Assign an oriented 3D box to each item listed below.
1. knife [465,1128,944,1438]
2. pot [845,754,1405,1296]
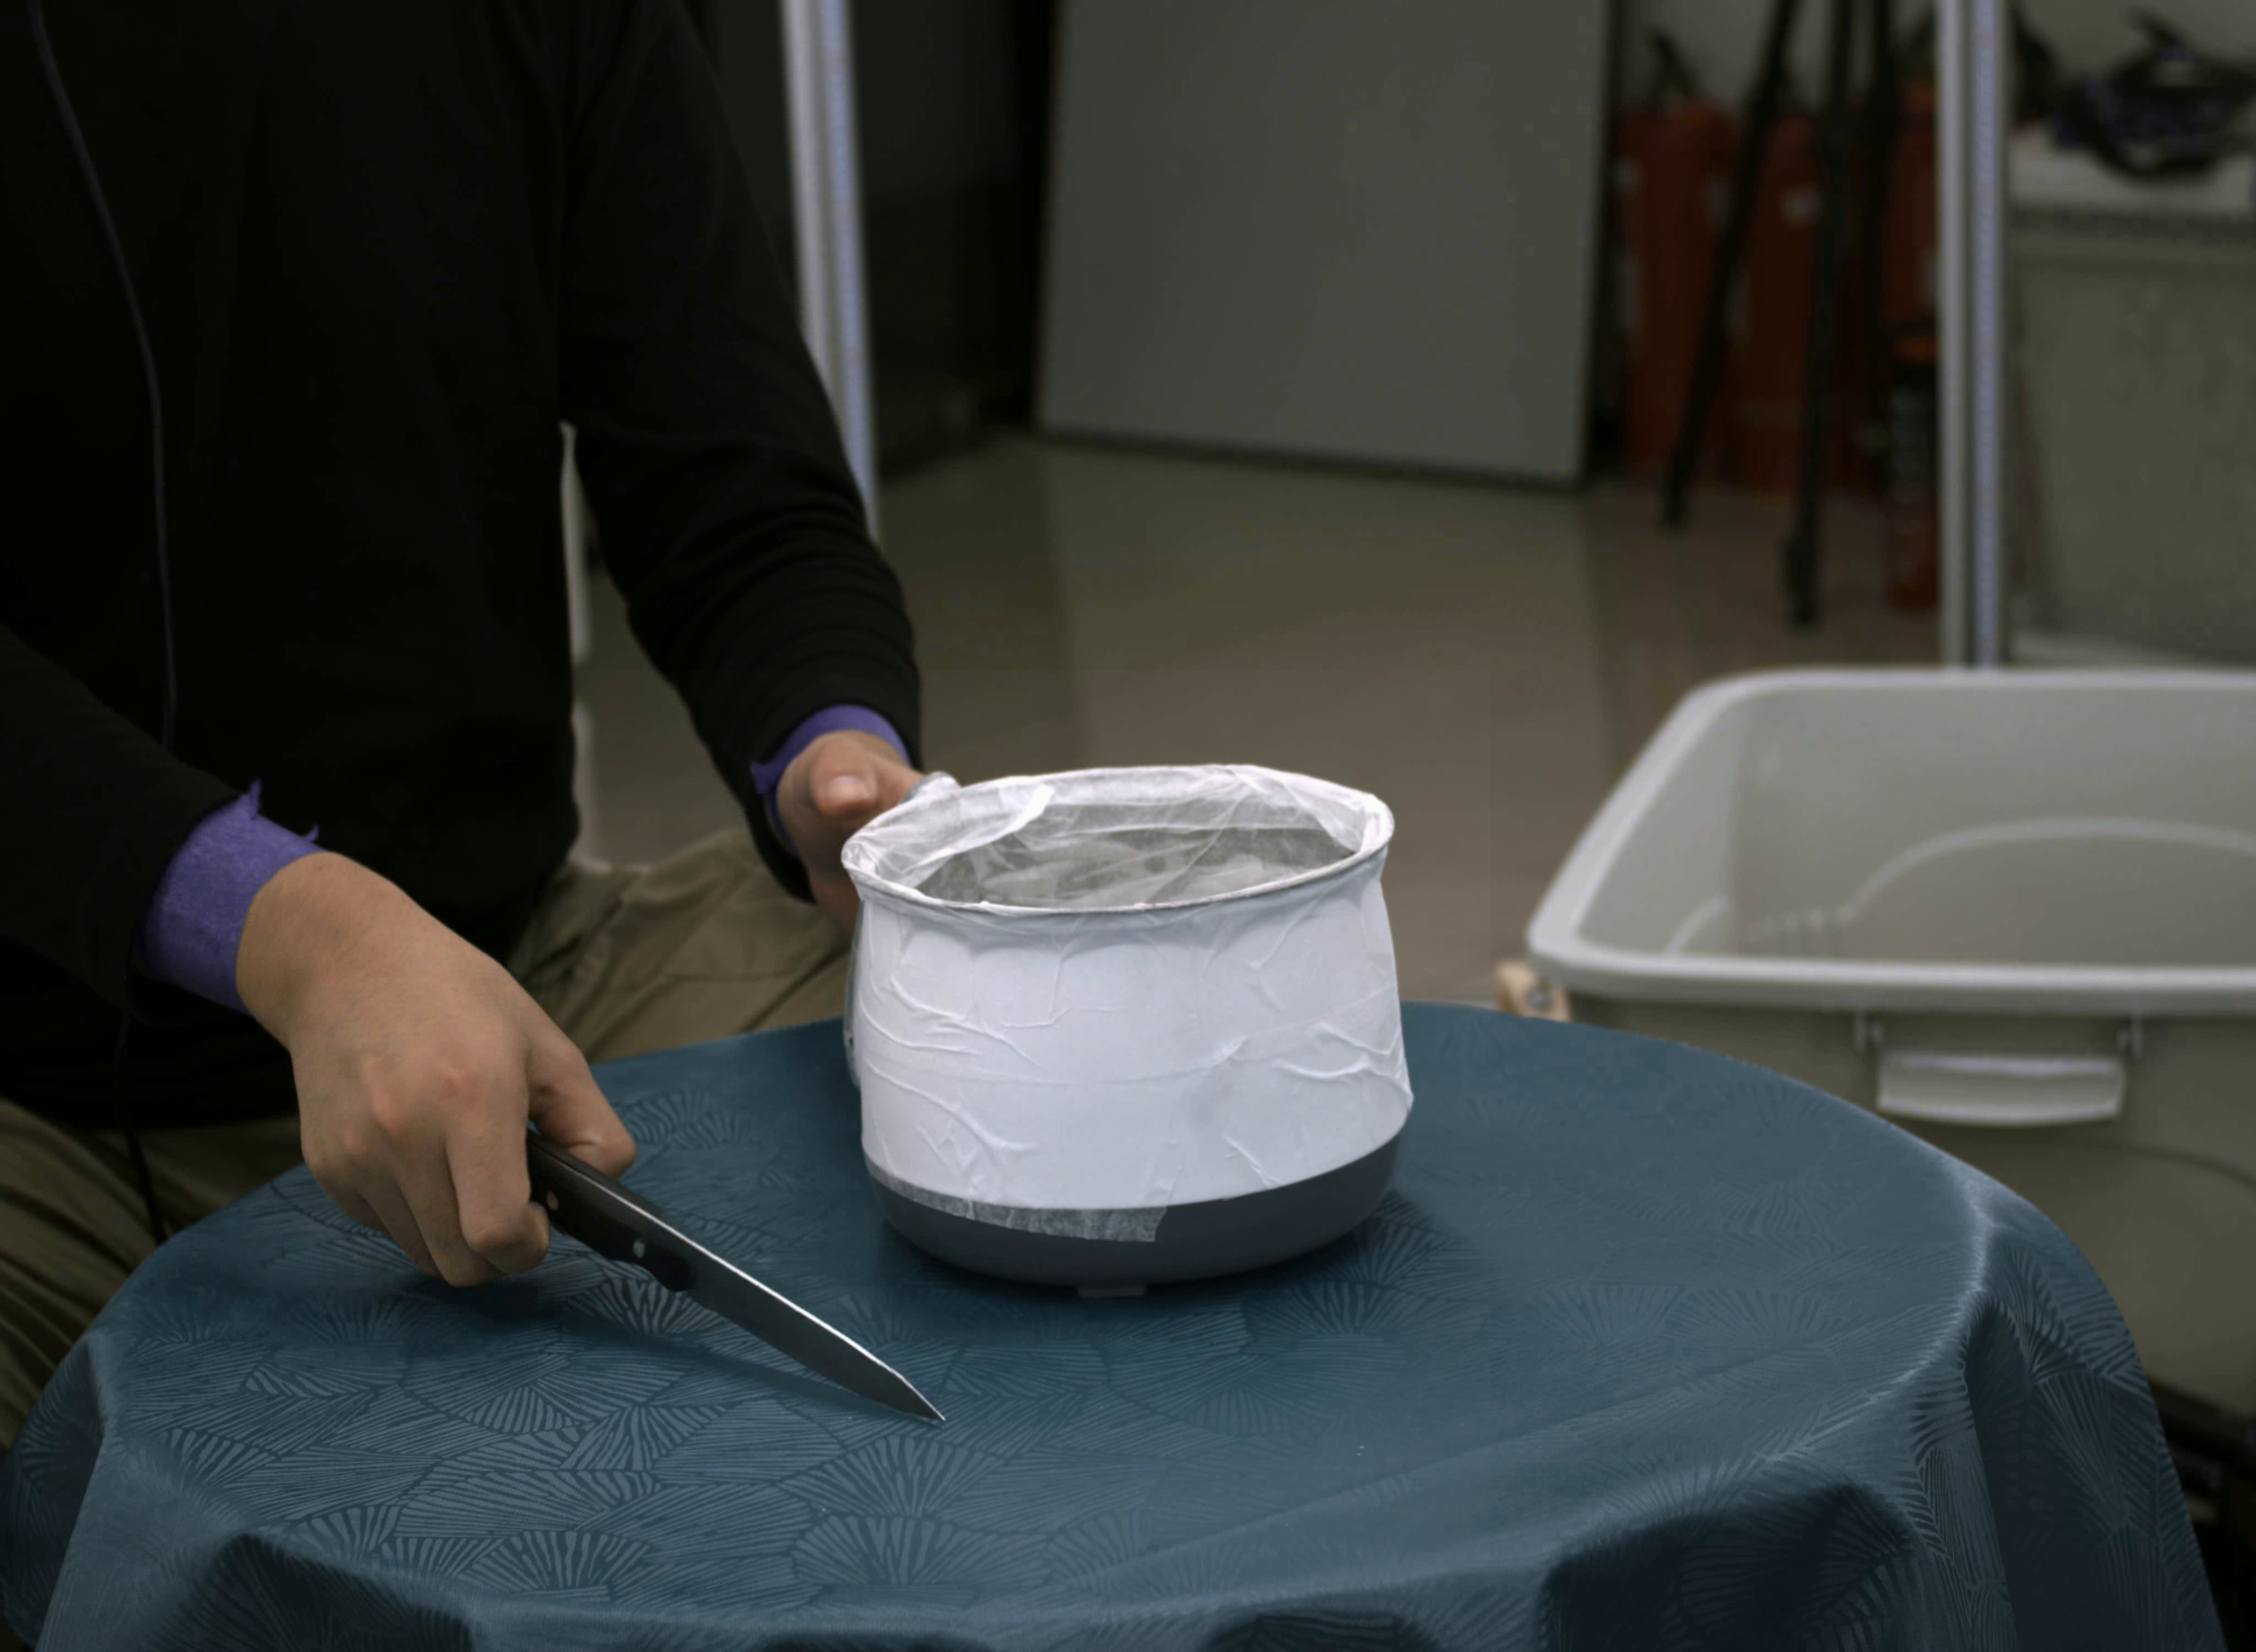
[{"bbox_3d":[-0.131,0.138,1.651,0.016,0.024,0.240,-32,37,-29],"label":"knife"},{"bbox_3d":[-0.017,0.057,1.742,0.175,0.138,0.236,-13,17,-36],"label":"pot"}]
